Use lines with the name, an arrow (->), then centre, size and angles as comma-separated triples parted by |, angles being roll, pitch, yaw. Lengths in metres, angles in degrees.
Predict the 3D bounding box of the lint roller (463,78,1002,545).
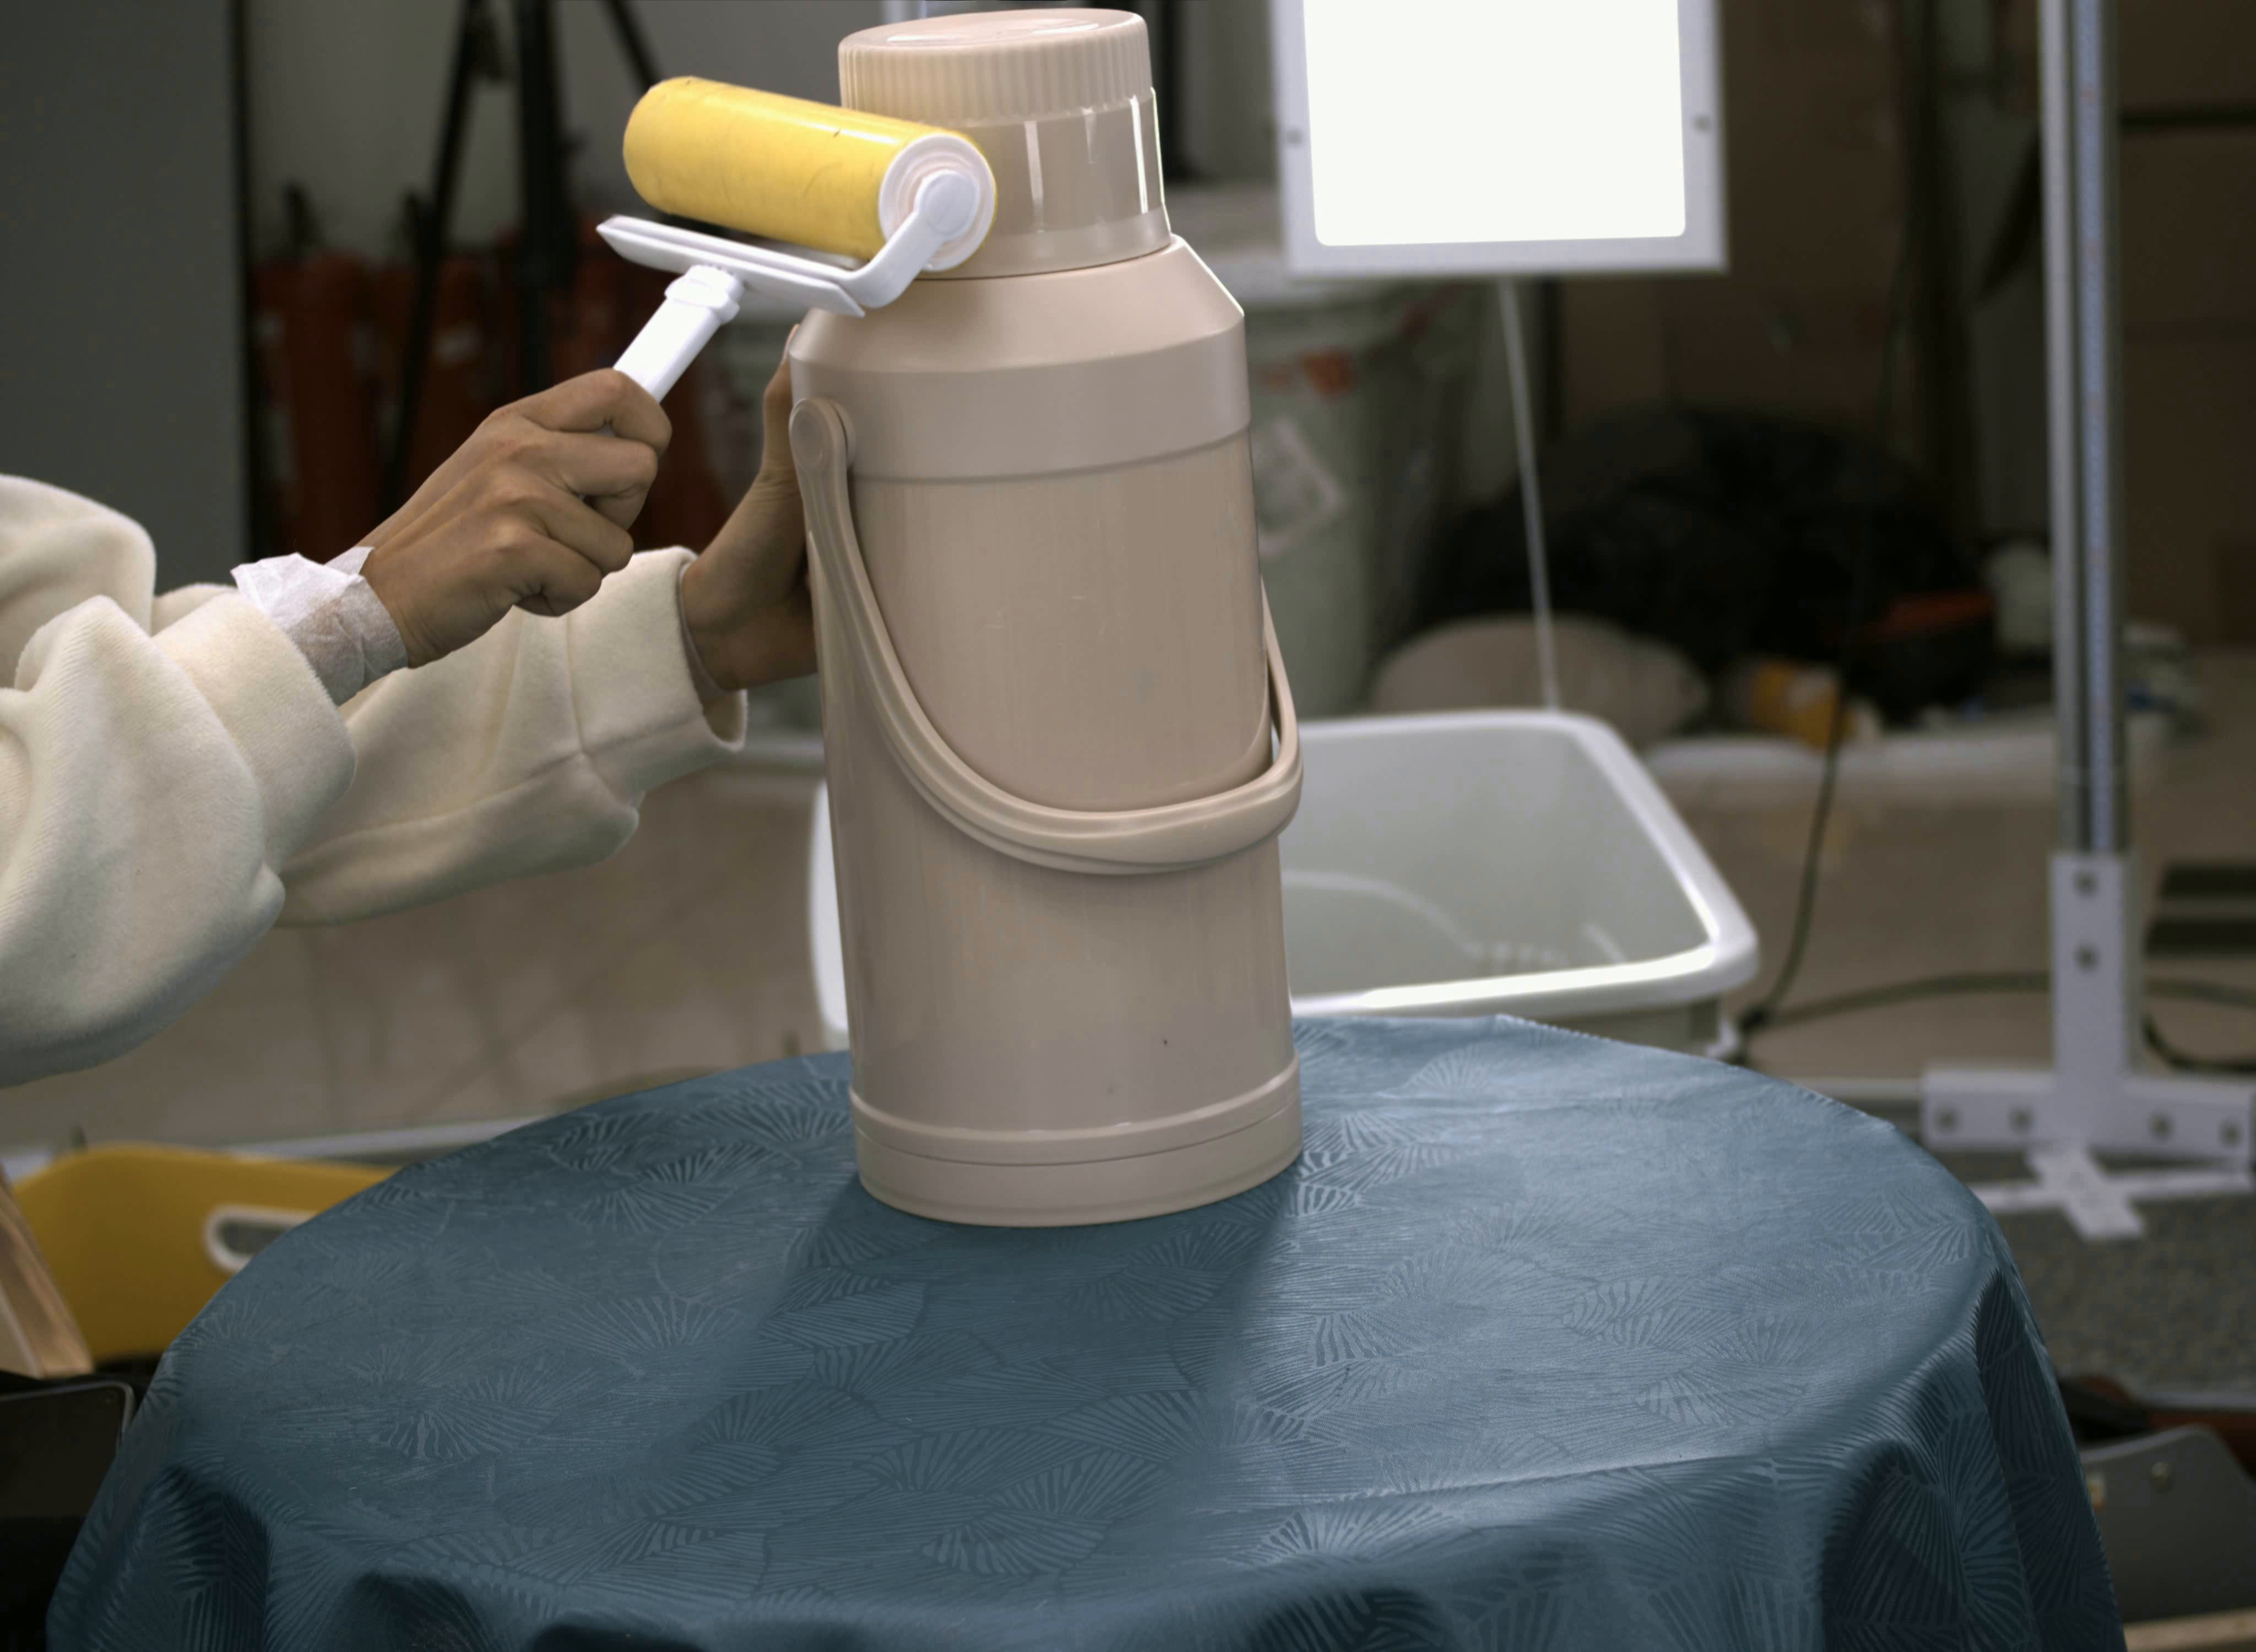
lint roller -> -0.153, -0.169, 1.796 | 0.189, 0.051, 0.177 | -43, 32, -20

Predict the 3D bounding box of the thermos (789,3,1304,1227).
thermos -> -0.038, -0.077, 1.906 | 0.171, 0.408, 0.211 | -15, 17, -33
